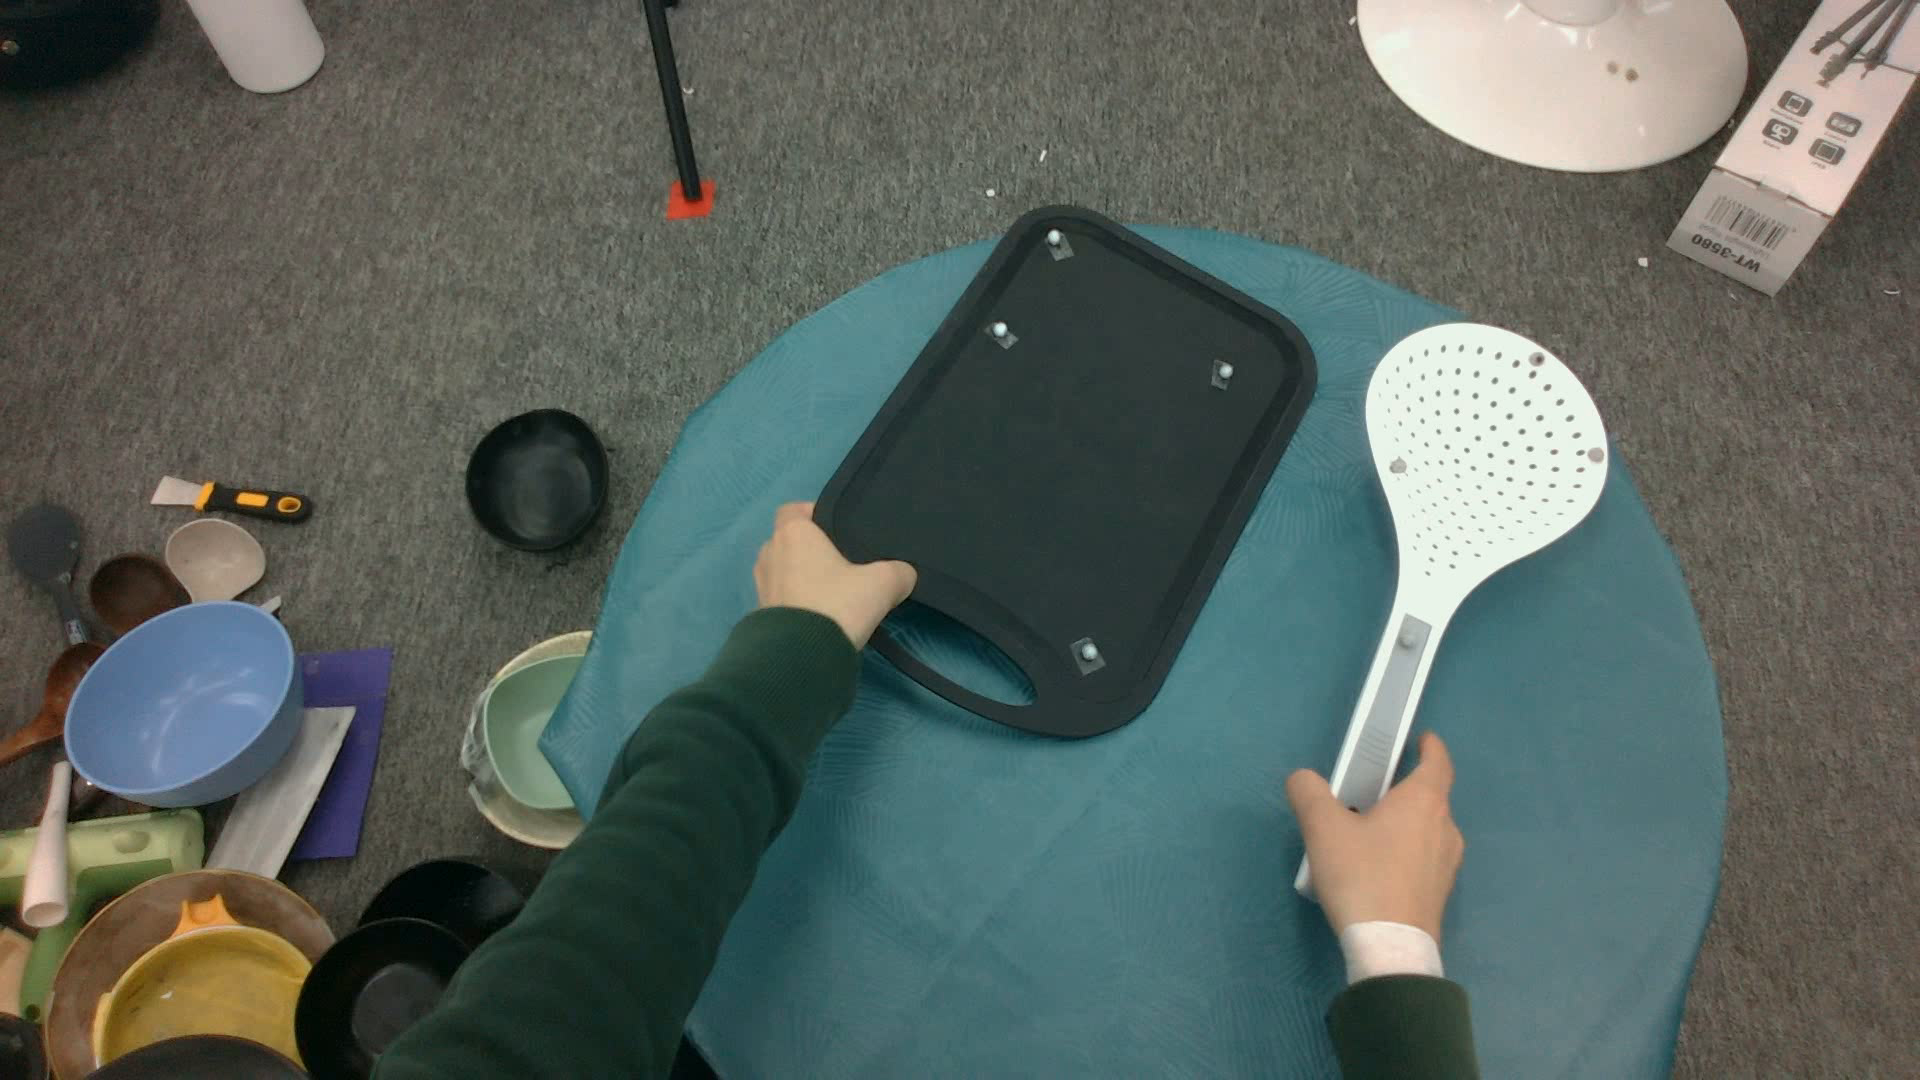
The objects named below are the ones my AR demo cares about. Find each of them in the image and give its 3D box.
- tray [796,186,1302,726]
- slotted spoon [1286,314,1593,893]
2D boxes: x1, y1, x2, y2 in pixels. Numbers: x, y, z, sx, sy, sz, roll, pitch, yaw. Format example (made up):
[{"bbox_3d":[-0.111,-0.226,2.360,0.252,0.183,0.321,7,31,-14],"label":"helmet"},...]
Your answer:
[{"bbox_3d":[0.056,-0.055,0.771,0.211,0.010,0.327,31,64,2],"label":"tray"},{"bbox_3d":[0.240,0.023,0.725,0.136,0.045,0.351,26,60,4],"label":"slotted spoon"}]
